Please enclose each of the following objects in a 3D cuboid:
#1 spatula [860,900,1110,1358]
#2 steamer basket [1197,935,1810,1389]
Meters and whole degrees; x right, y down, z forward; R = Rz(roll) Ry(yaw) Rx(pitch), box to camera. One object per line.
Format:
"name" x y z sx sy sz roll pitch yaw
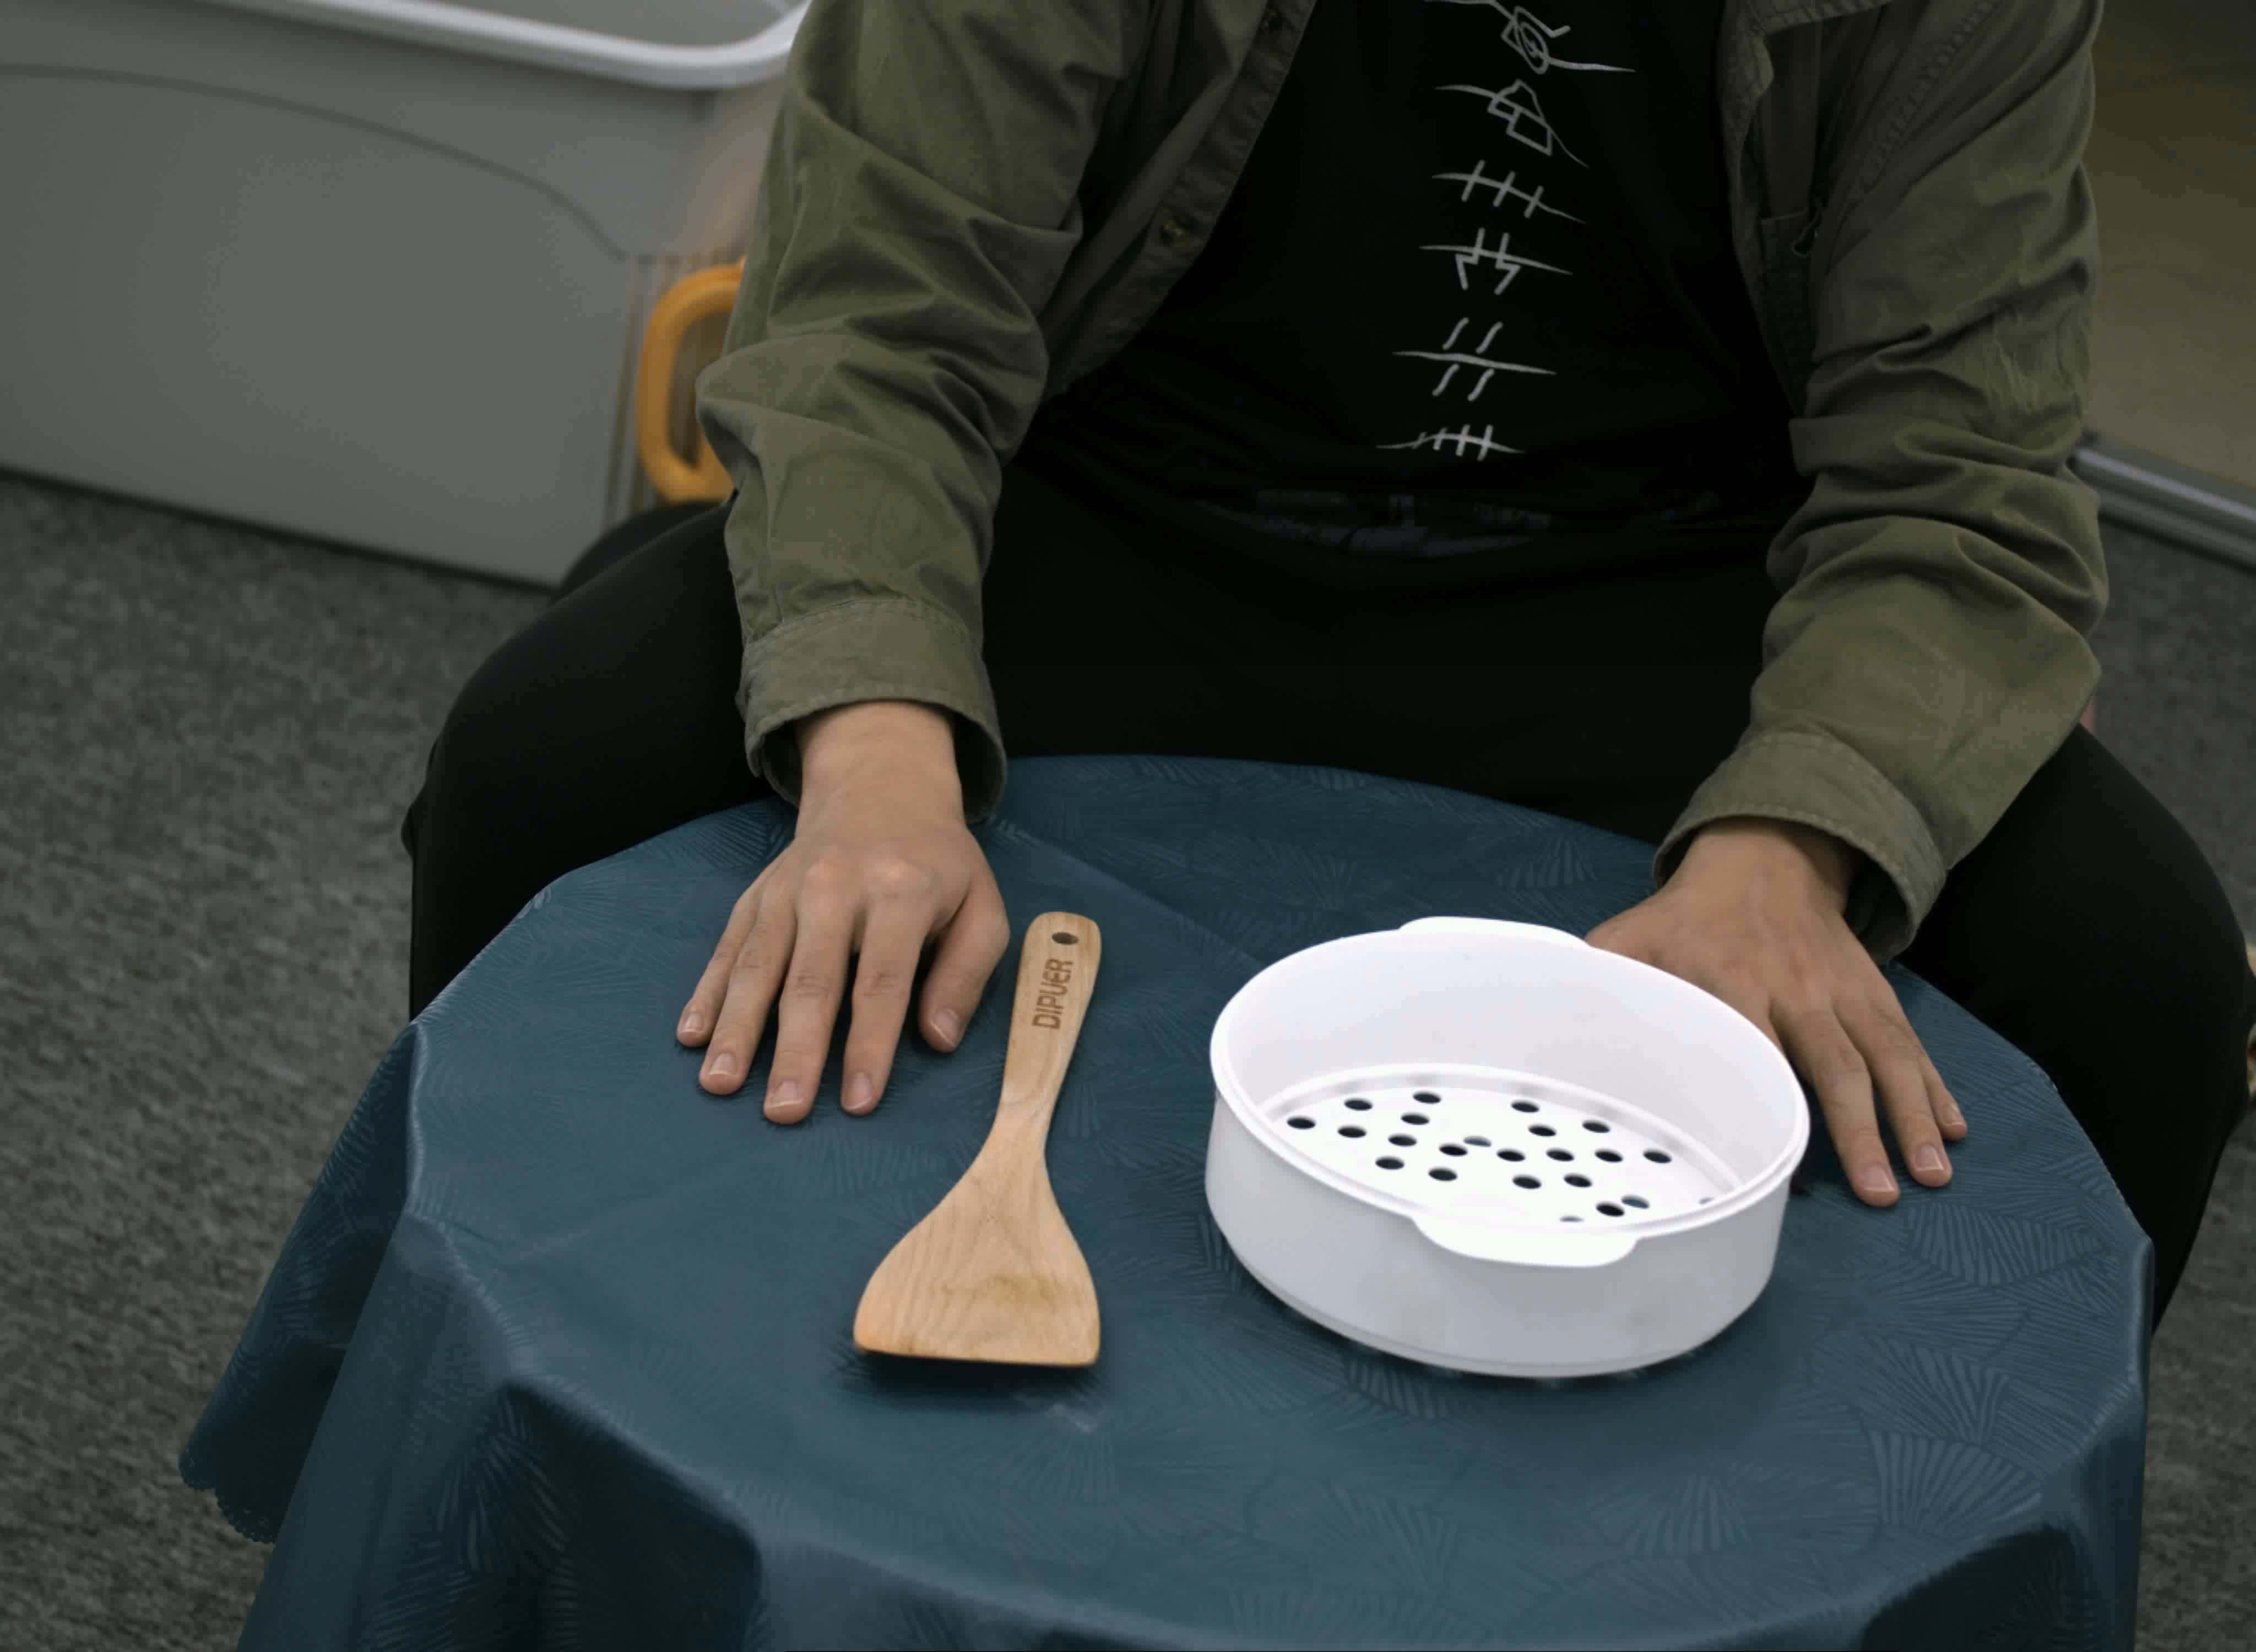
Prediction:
"spatula" -0.033 0.099 1.821 0.080 0.016 0.329 8 27 2
"steamer basket" 0.123 0.113 1.775 0.201 0.069 0.232 6 25 -2
